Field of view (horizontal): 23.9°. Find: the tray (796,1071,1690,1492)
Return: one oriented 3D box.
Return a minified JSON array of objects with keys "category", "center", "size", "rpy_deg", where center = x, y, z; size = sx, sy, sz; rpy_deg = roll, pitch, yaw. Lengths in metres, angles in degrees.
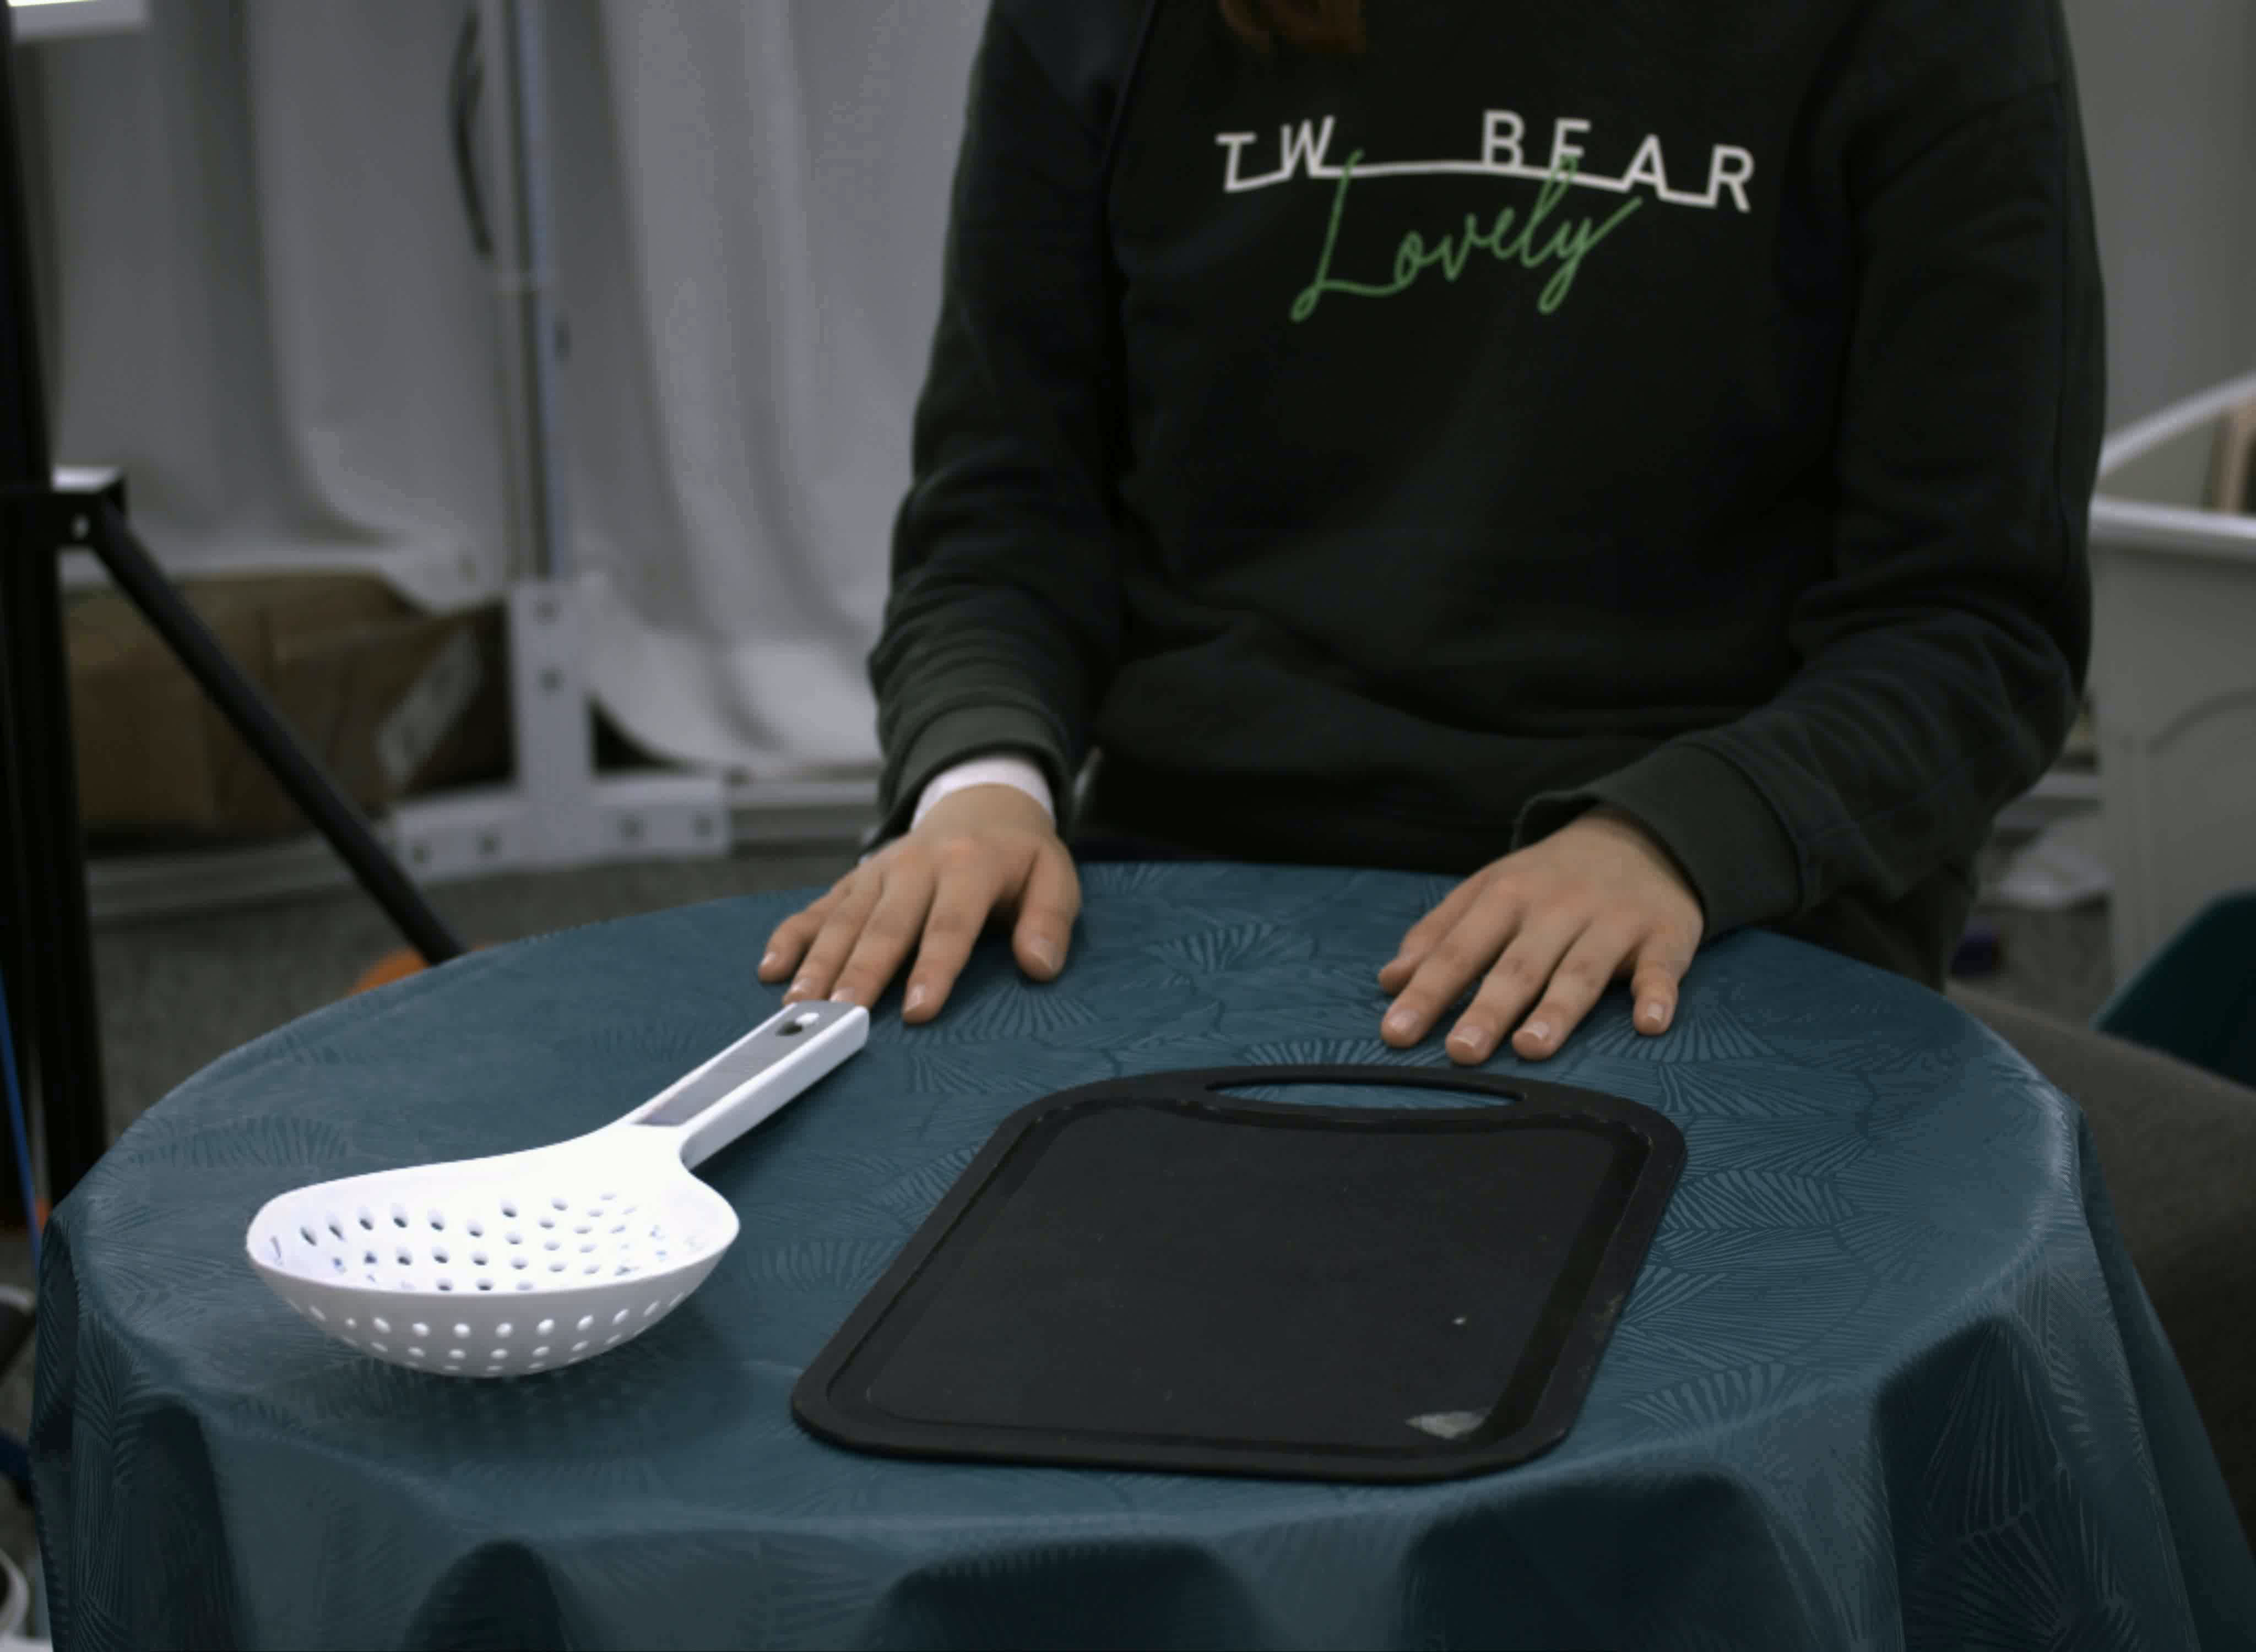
[{"category":"tray","center":[0.041,0.120,1.498],"size":[0.213,0.010,0.323],"rpy_deg":[2,16,15]}]

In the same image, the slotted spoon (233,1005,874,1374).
[{"category":"slotted spoon","center":[-0.143,0.095,1.543],"size":[0.137,0.046,0.346],"rpy_deg":[4,16,16]}]
